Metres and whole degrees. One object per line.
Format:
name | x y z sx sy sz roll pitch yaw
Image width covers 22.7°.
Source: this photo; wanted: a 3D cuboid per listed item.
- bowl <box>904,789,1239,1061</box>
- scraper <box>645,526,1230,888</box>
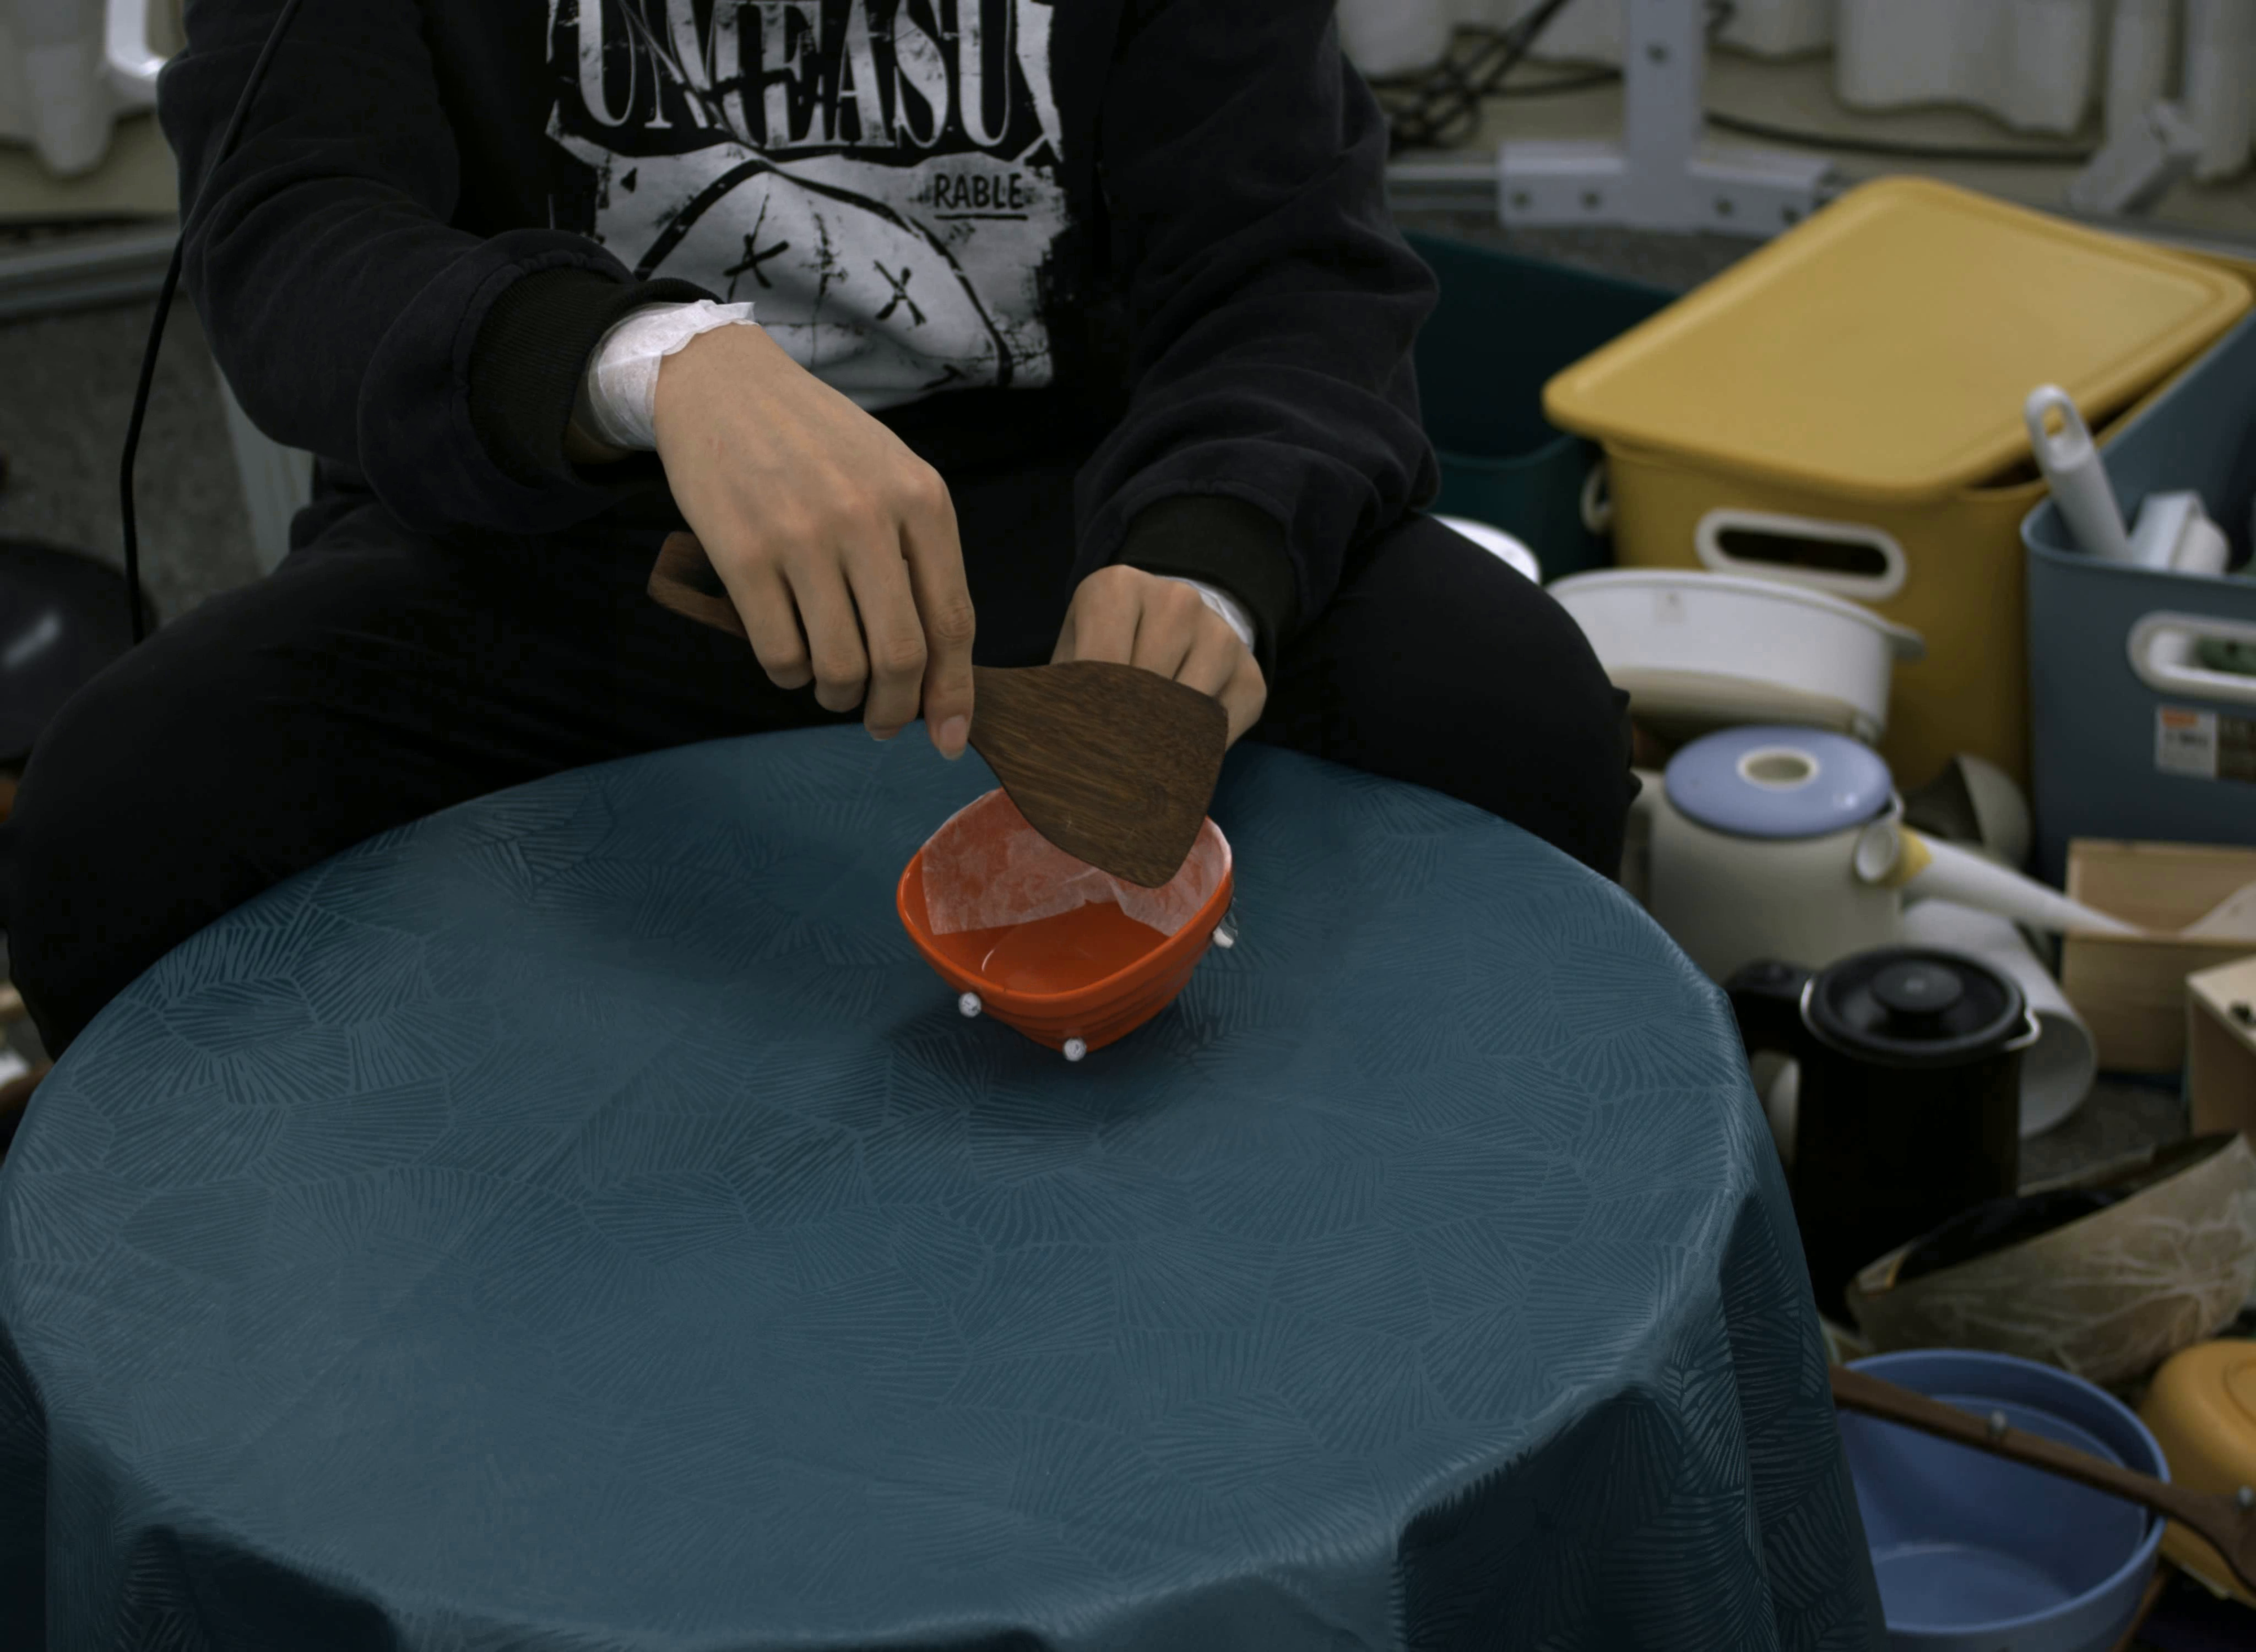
bowl | -0.015 0.037 1.958 0.118 0.050 0.121 -9 41 8
scraper | -0.067 -0.050 1.926 0.210 0.077 0.011 24 -15 -11
